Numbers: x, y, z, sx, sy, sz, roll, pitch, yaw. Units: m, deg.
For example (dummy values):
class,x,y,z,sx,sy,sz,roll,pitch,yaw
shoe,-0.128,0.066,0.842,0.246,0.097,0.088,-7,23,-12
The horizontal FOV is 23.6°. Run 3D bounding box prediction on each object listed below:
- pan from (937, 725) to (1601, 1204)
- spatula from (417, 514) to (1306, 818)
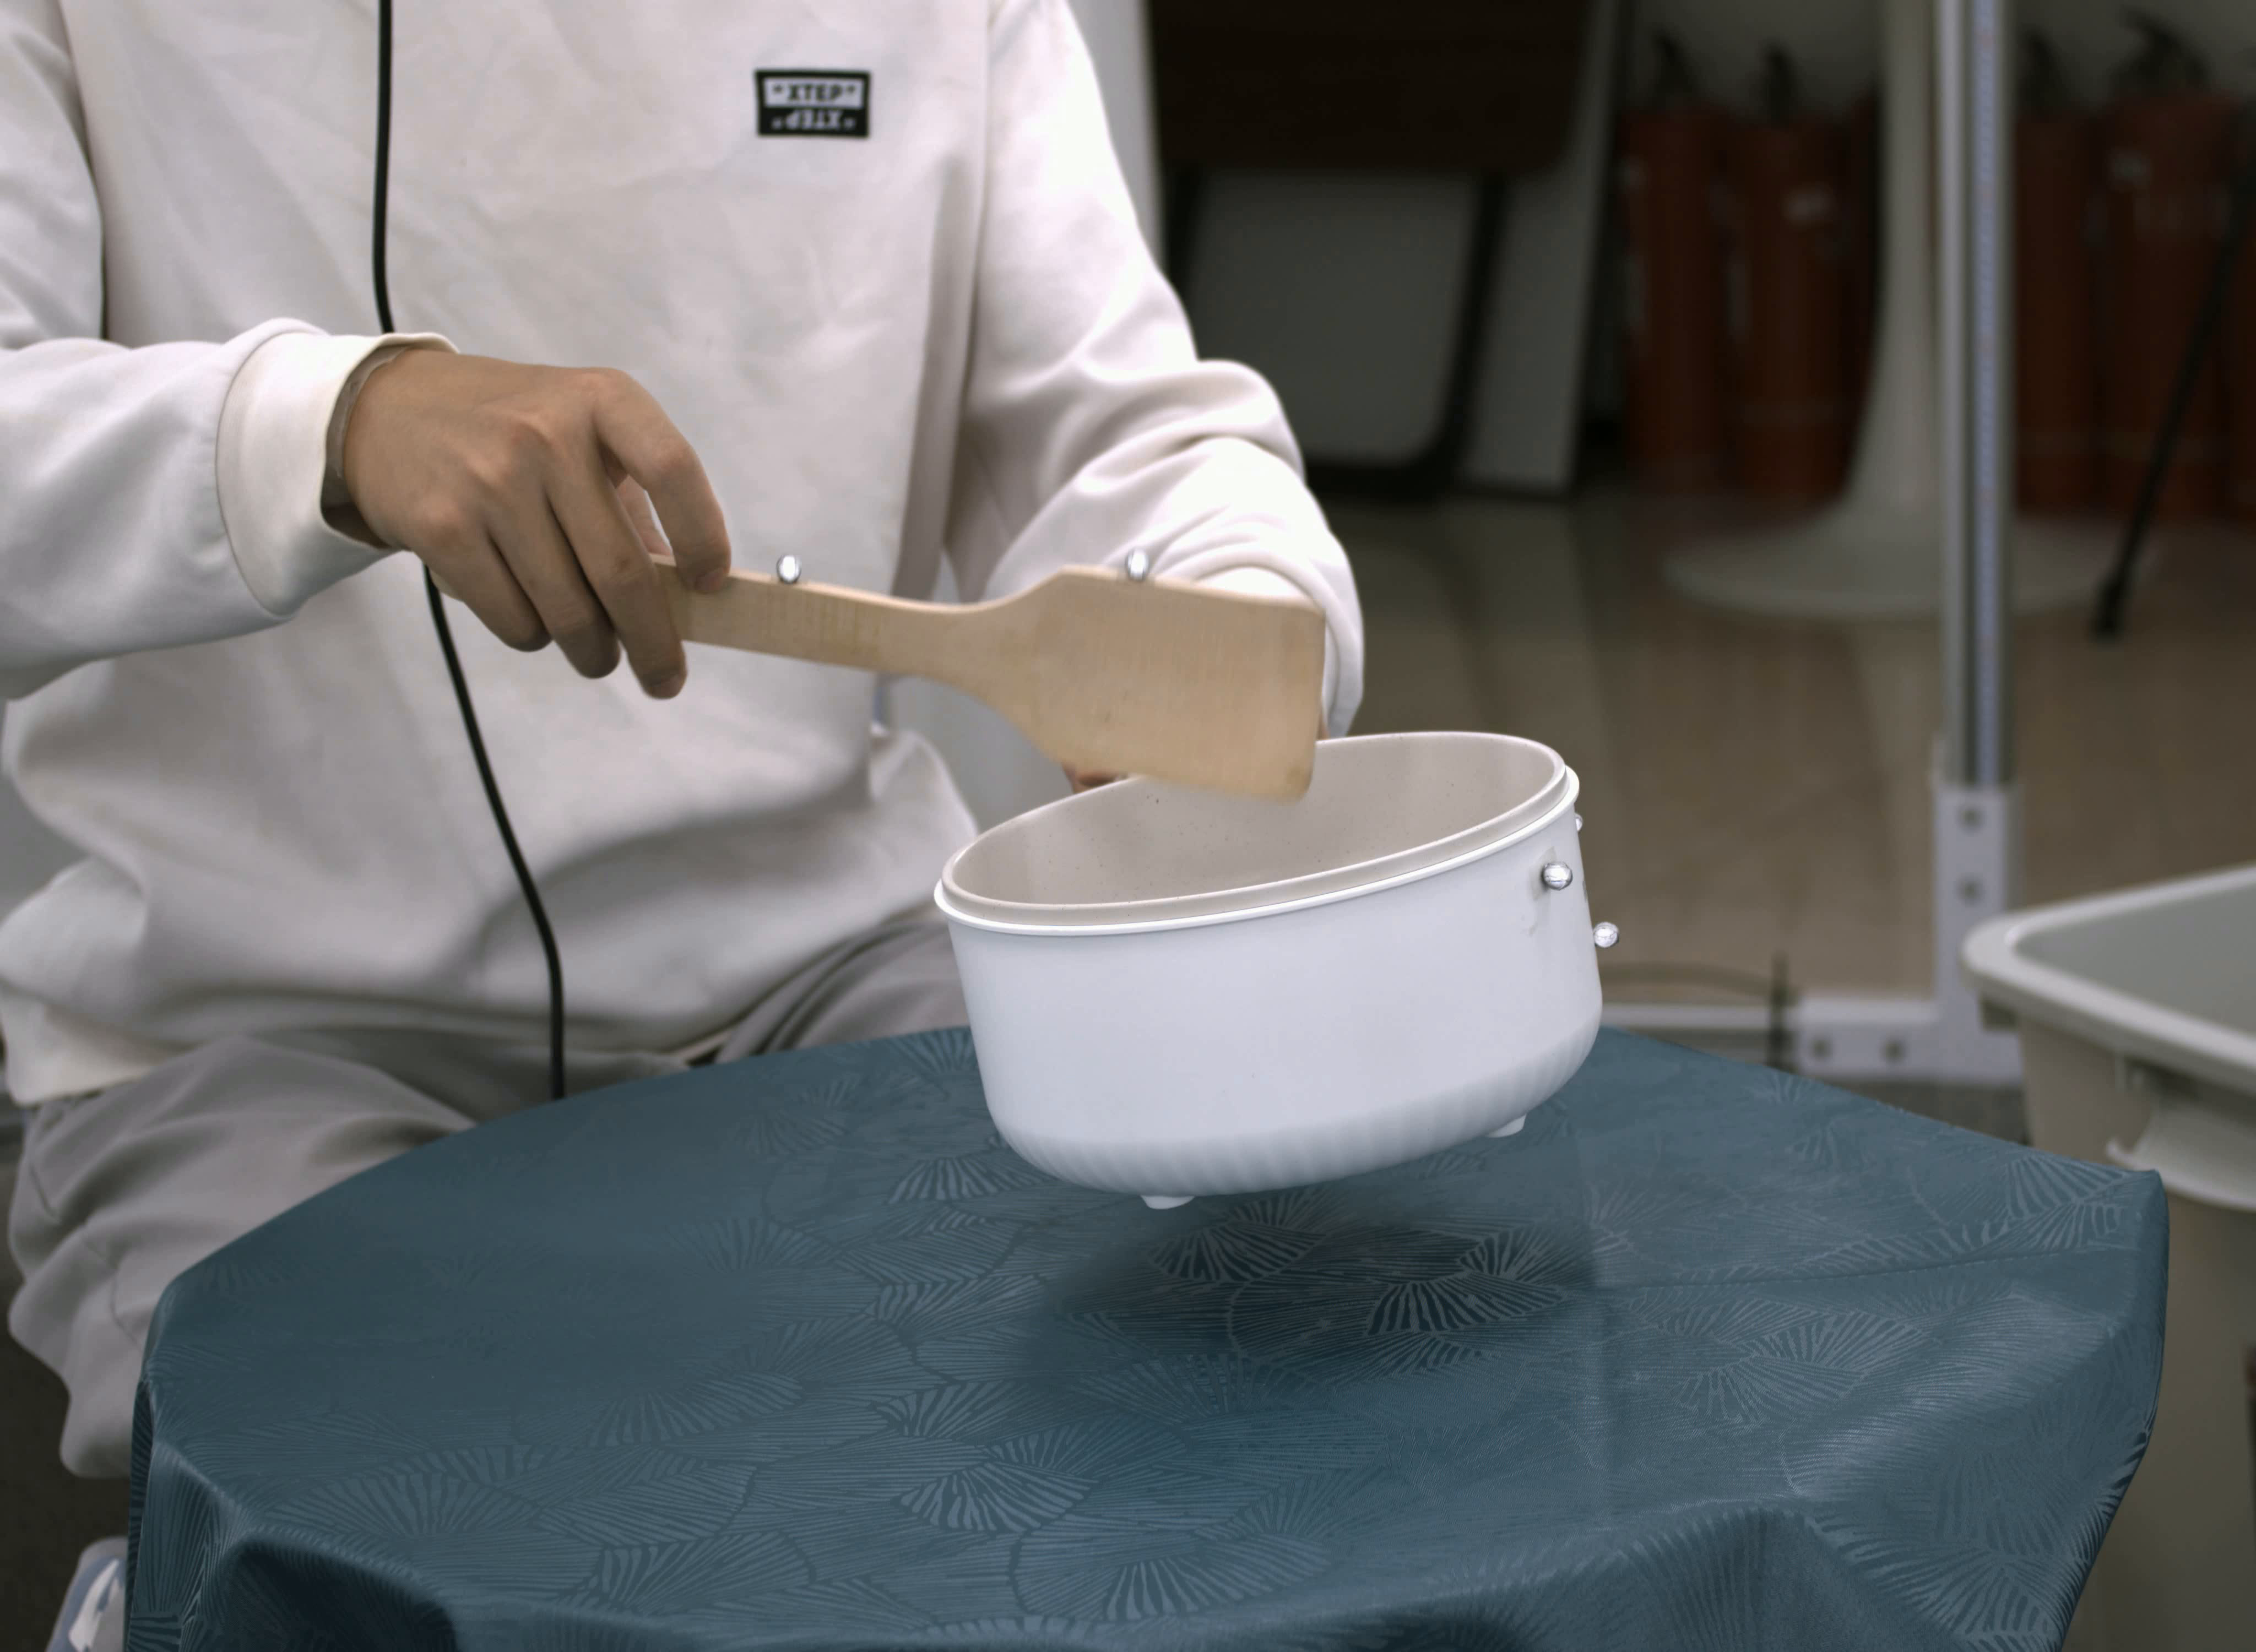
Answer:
class,x,y,z,sx,sy,sz,roll,pitch,yaw
pan,0.037,0.030,1.729,0.198,0.103,0.356,-12,11,-5
spatula,-0.087,-0.061,1.701,0.291,0.073,0.010,12,27,11
